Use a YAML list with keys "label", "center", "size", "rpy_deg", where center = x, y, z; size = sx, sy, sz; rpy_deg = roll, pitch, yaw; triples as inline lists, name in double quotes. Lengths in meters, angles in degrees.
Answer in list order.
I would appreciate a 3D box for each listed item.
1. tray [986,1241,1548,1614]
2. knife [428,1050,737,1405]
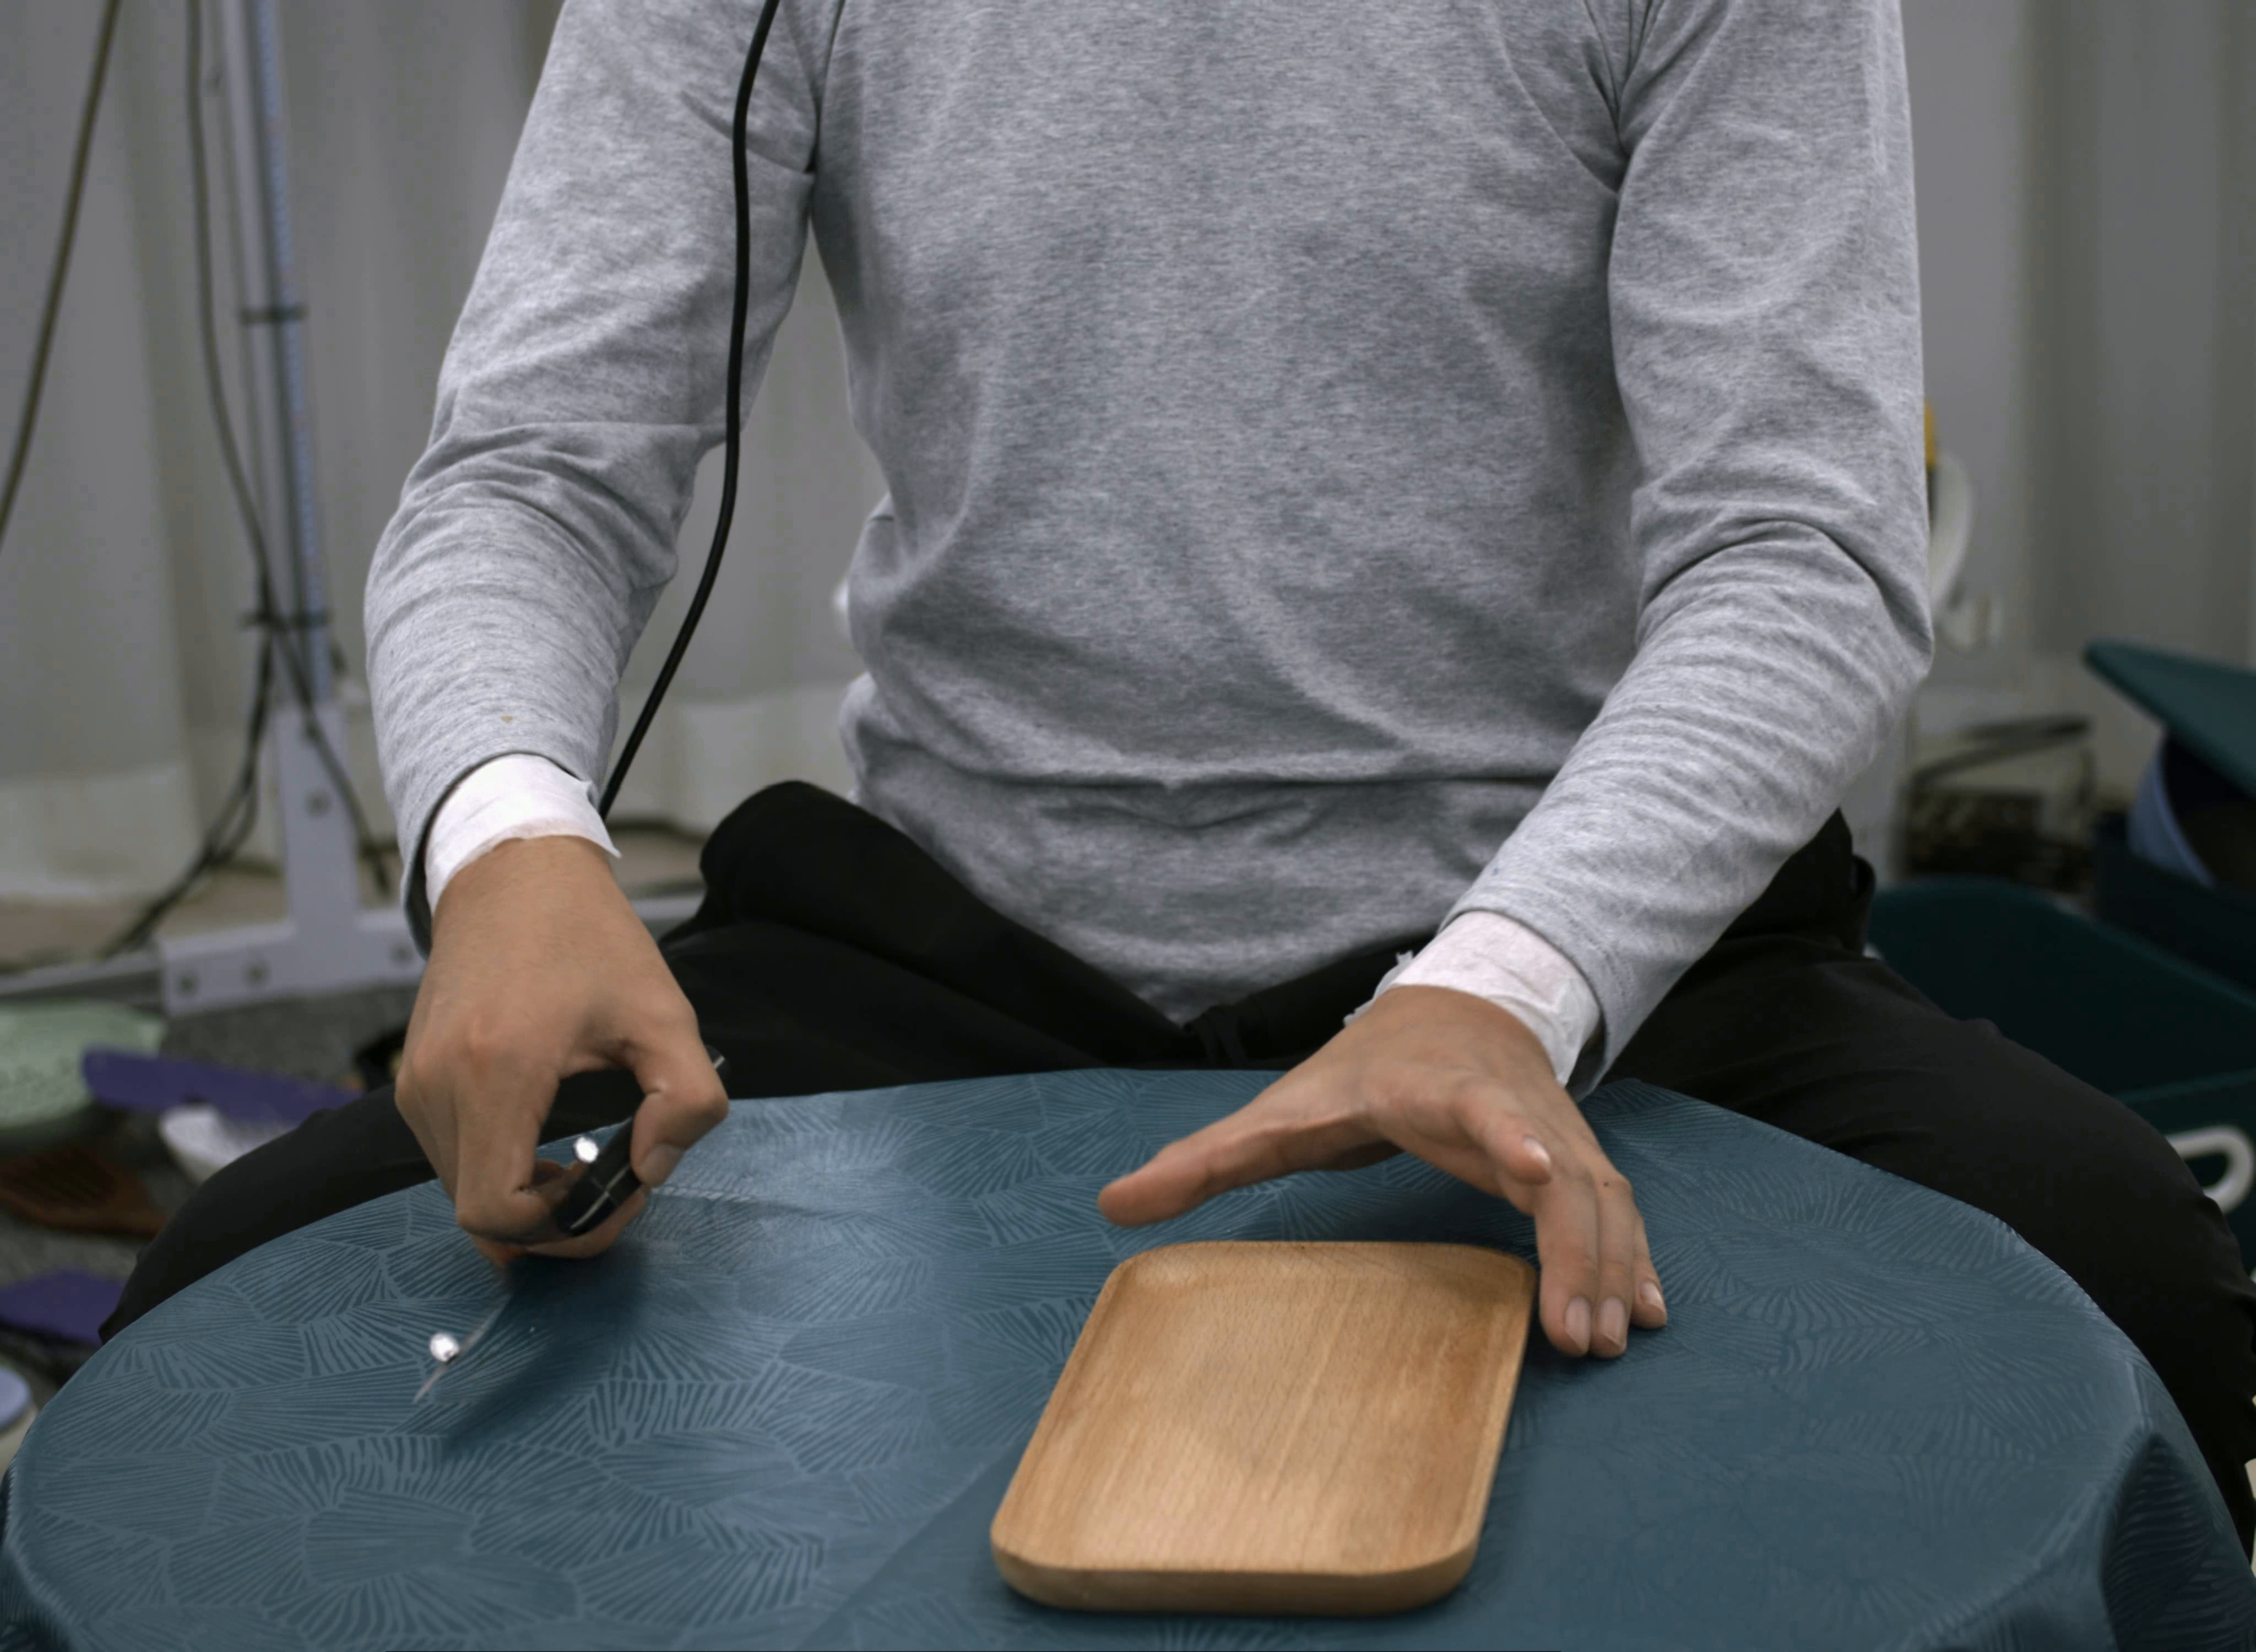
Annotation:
- label: "tray"
  center: [0.042, 0.162, 1.500]
  size: [0.130, 0.023, 0.252]
  rpy_deg: [3, 14, 10]
- label: "knife"
  center: [-0.164, 0.120, 1.626]
  size: [0.024, 0.016, 0.239]
  rpy_deg: [-38, 6, 25]
